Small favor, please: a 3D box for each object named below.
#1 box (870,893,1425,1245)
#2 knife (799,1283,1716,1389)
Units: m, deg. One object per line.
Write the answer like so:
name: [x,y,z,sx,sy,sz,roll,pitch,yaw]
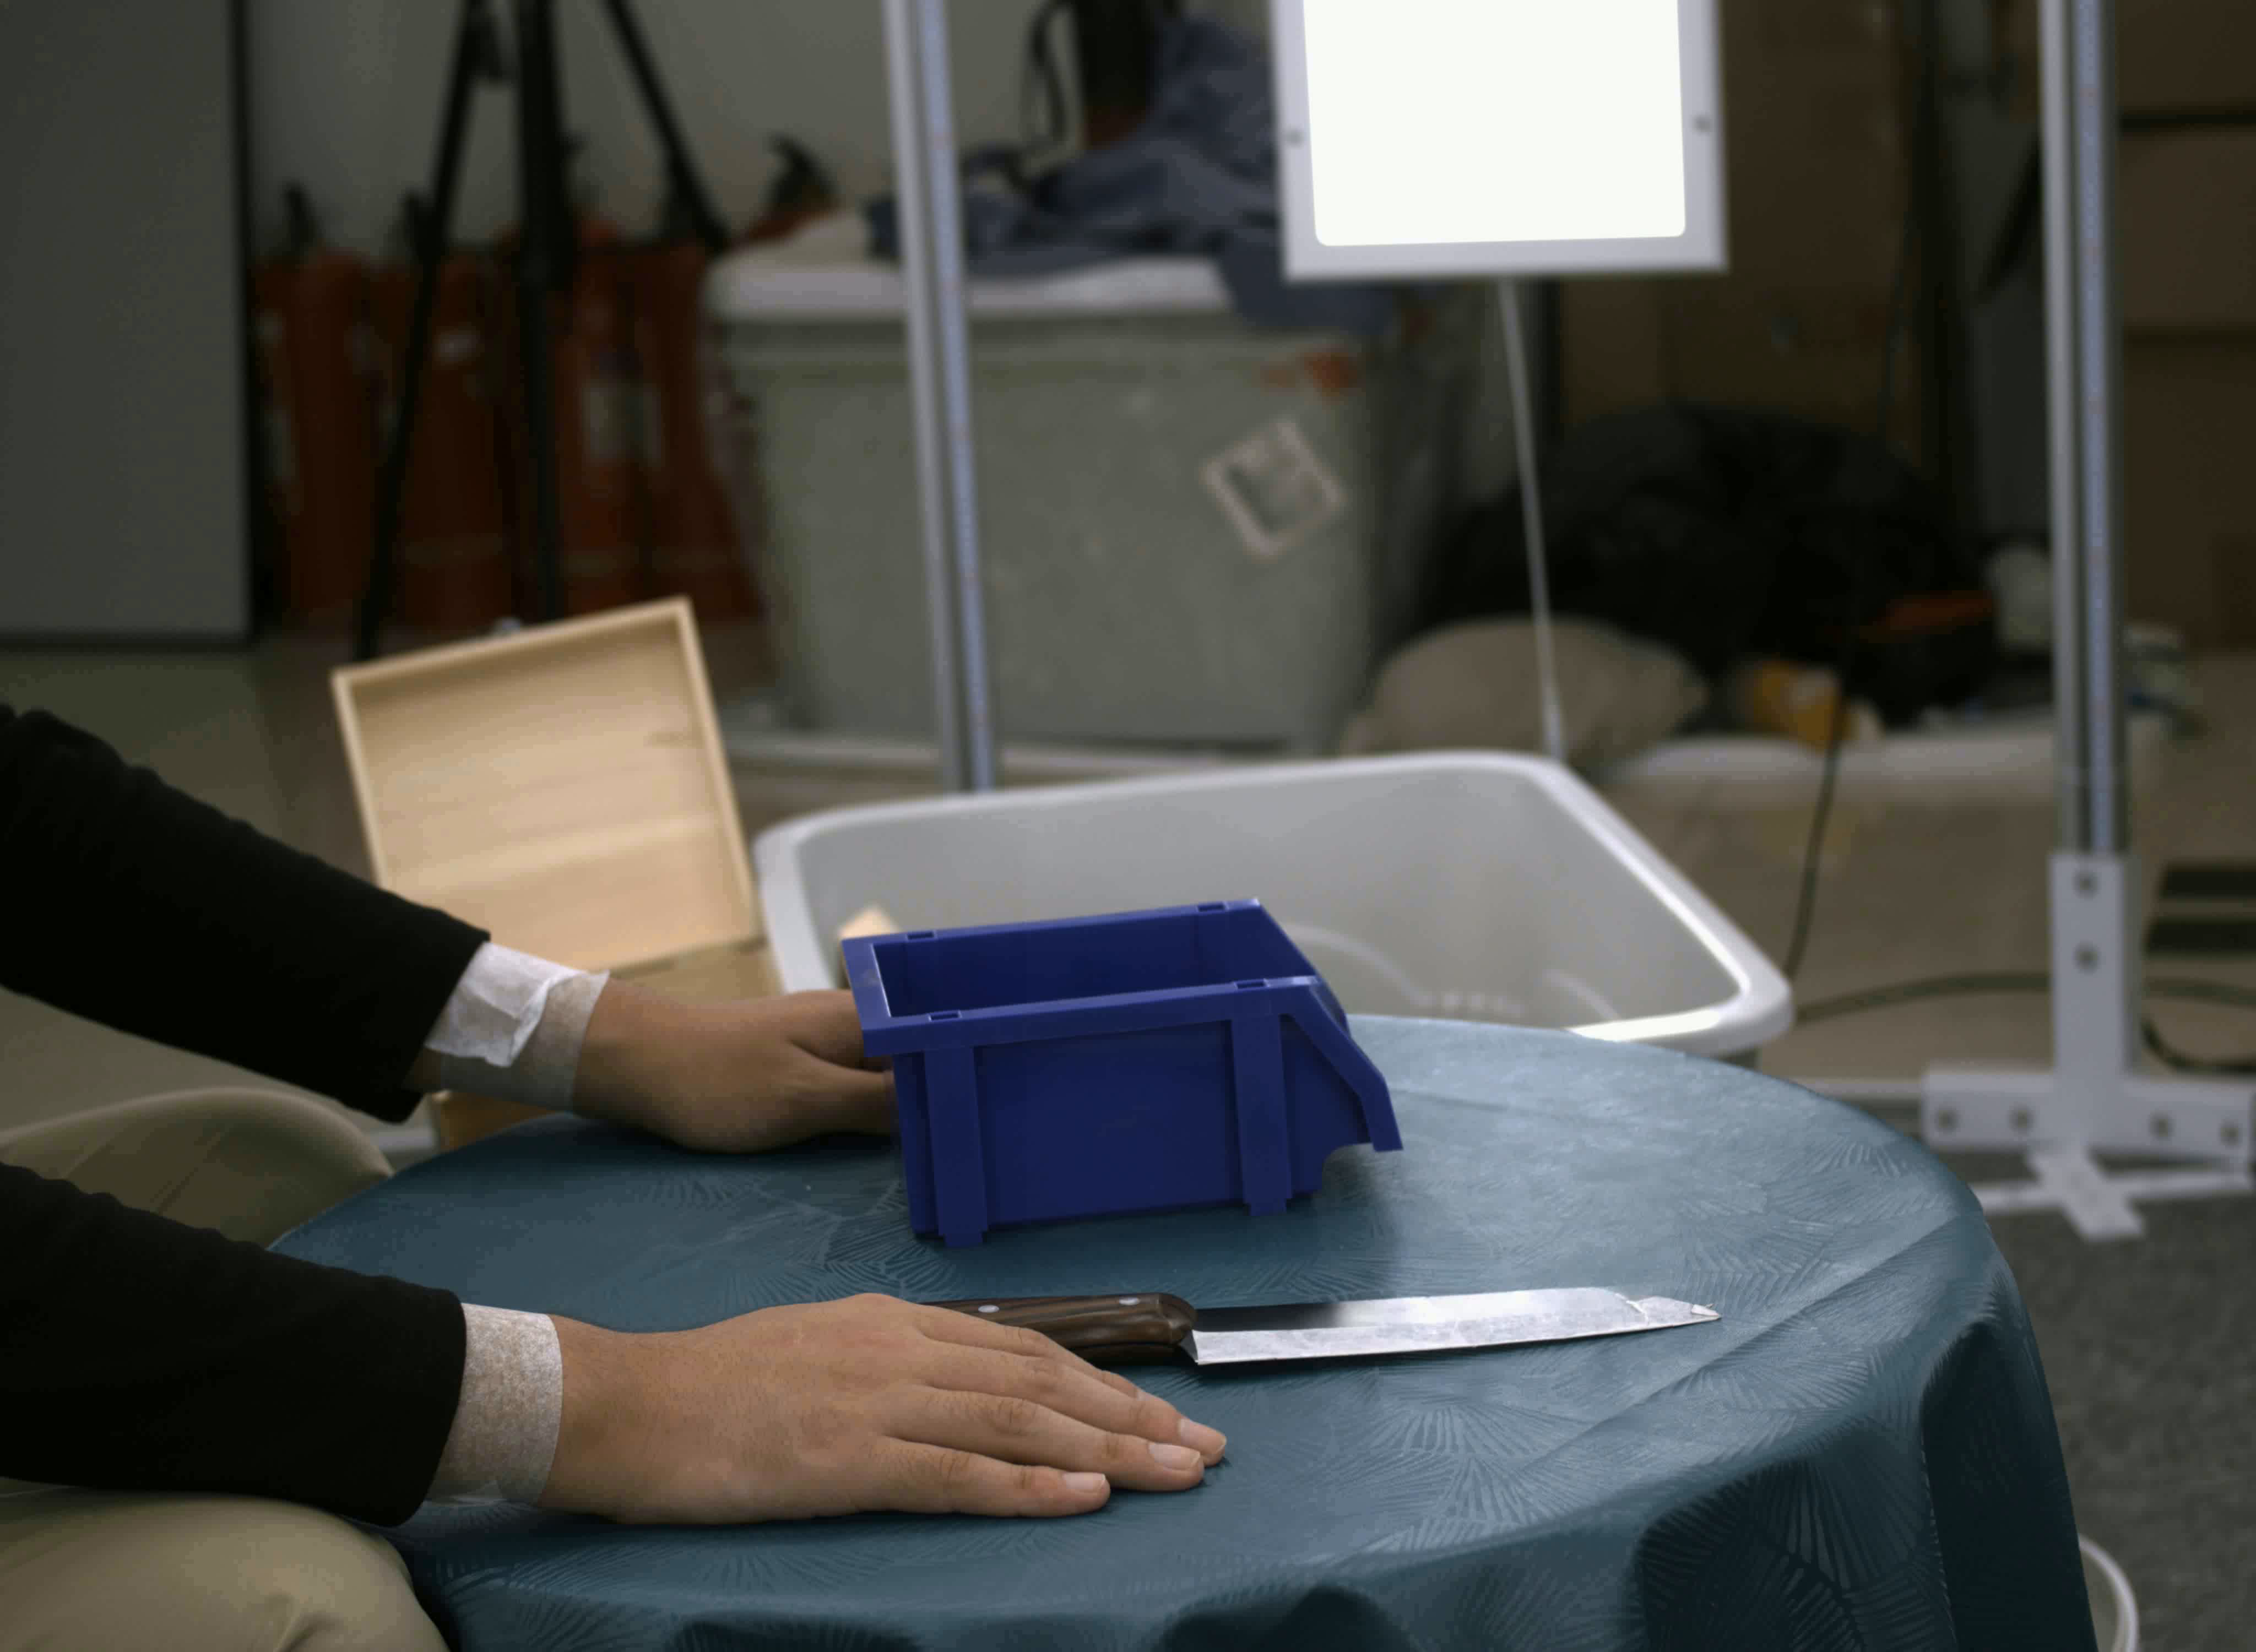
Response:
box: [0.006,0.081,1.909,0.179,0.082,0.124,-8,13,-1]
knife: [0.041,0.158,1.723,0.288,0.020,0.050,-2,19,0]
